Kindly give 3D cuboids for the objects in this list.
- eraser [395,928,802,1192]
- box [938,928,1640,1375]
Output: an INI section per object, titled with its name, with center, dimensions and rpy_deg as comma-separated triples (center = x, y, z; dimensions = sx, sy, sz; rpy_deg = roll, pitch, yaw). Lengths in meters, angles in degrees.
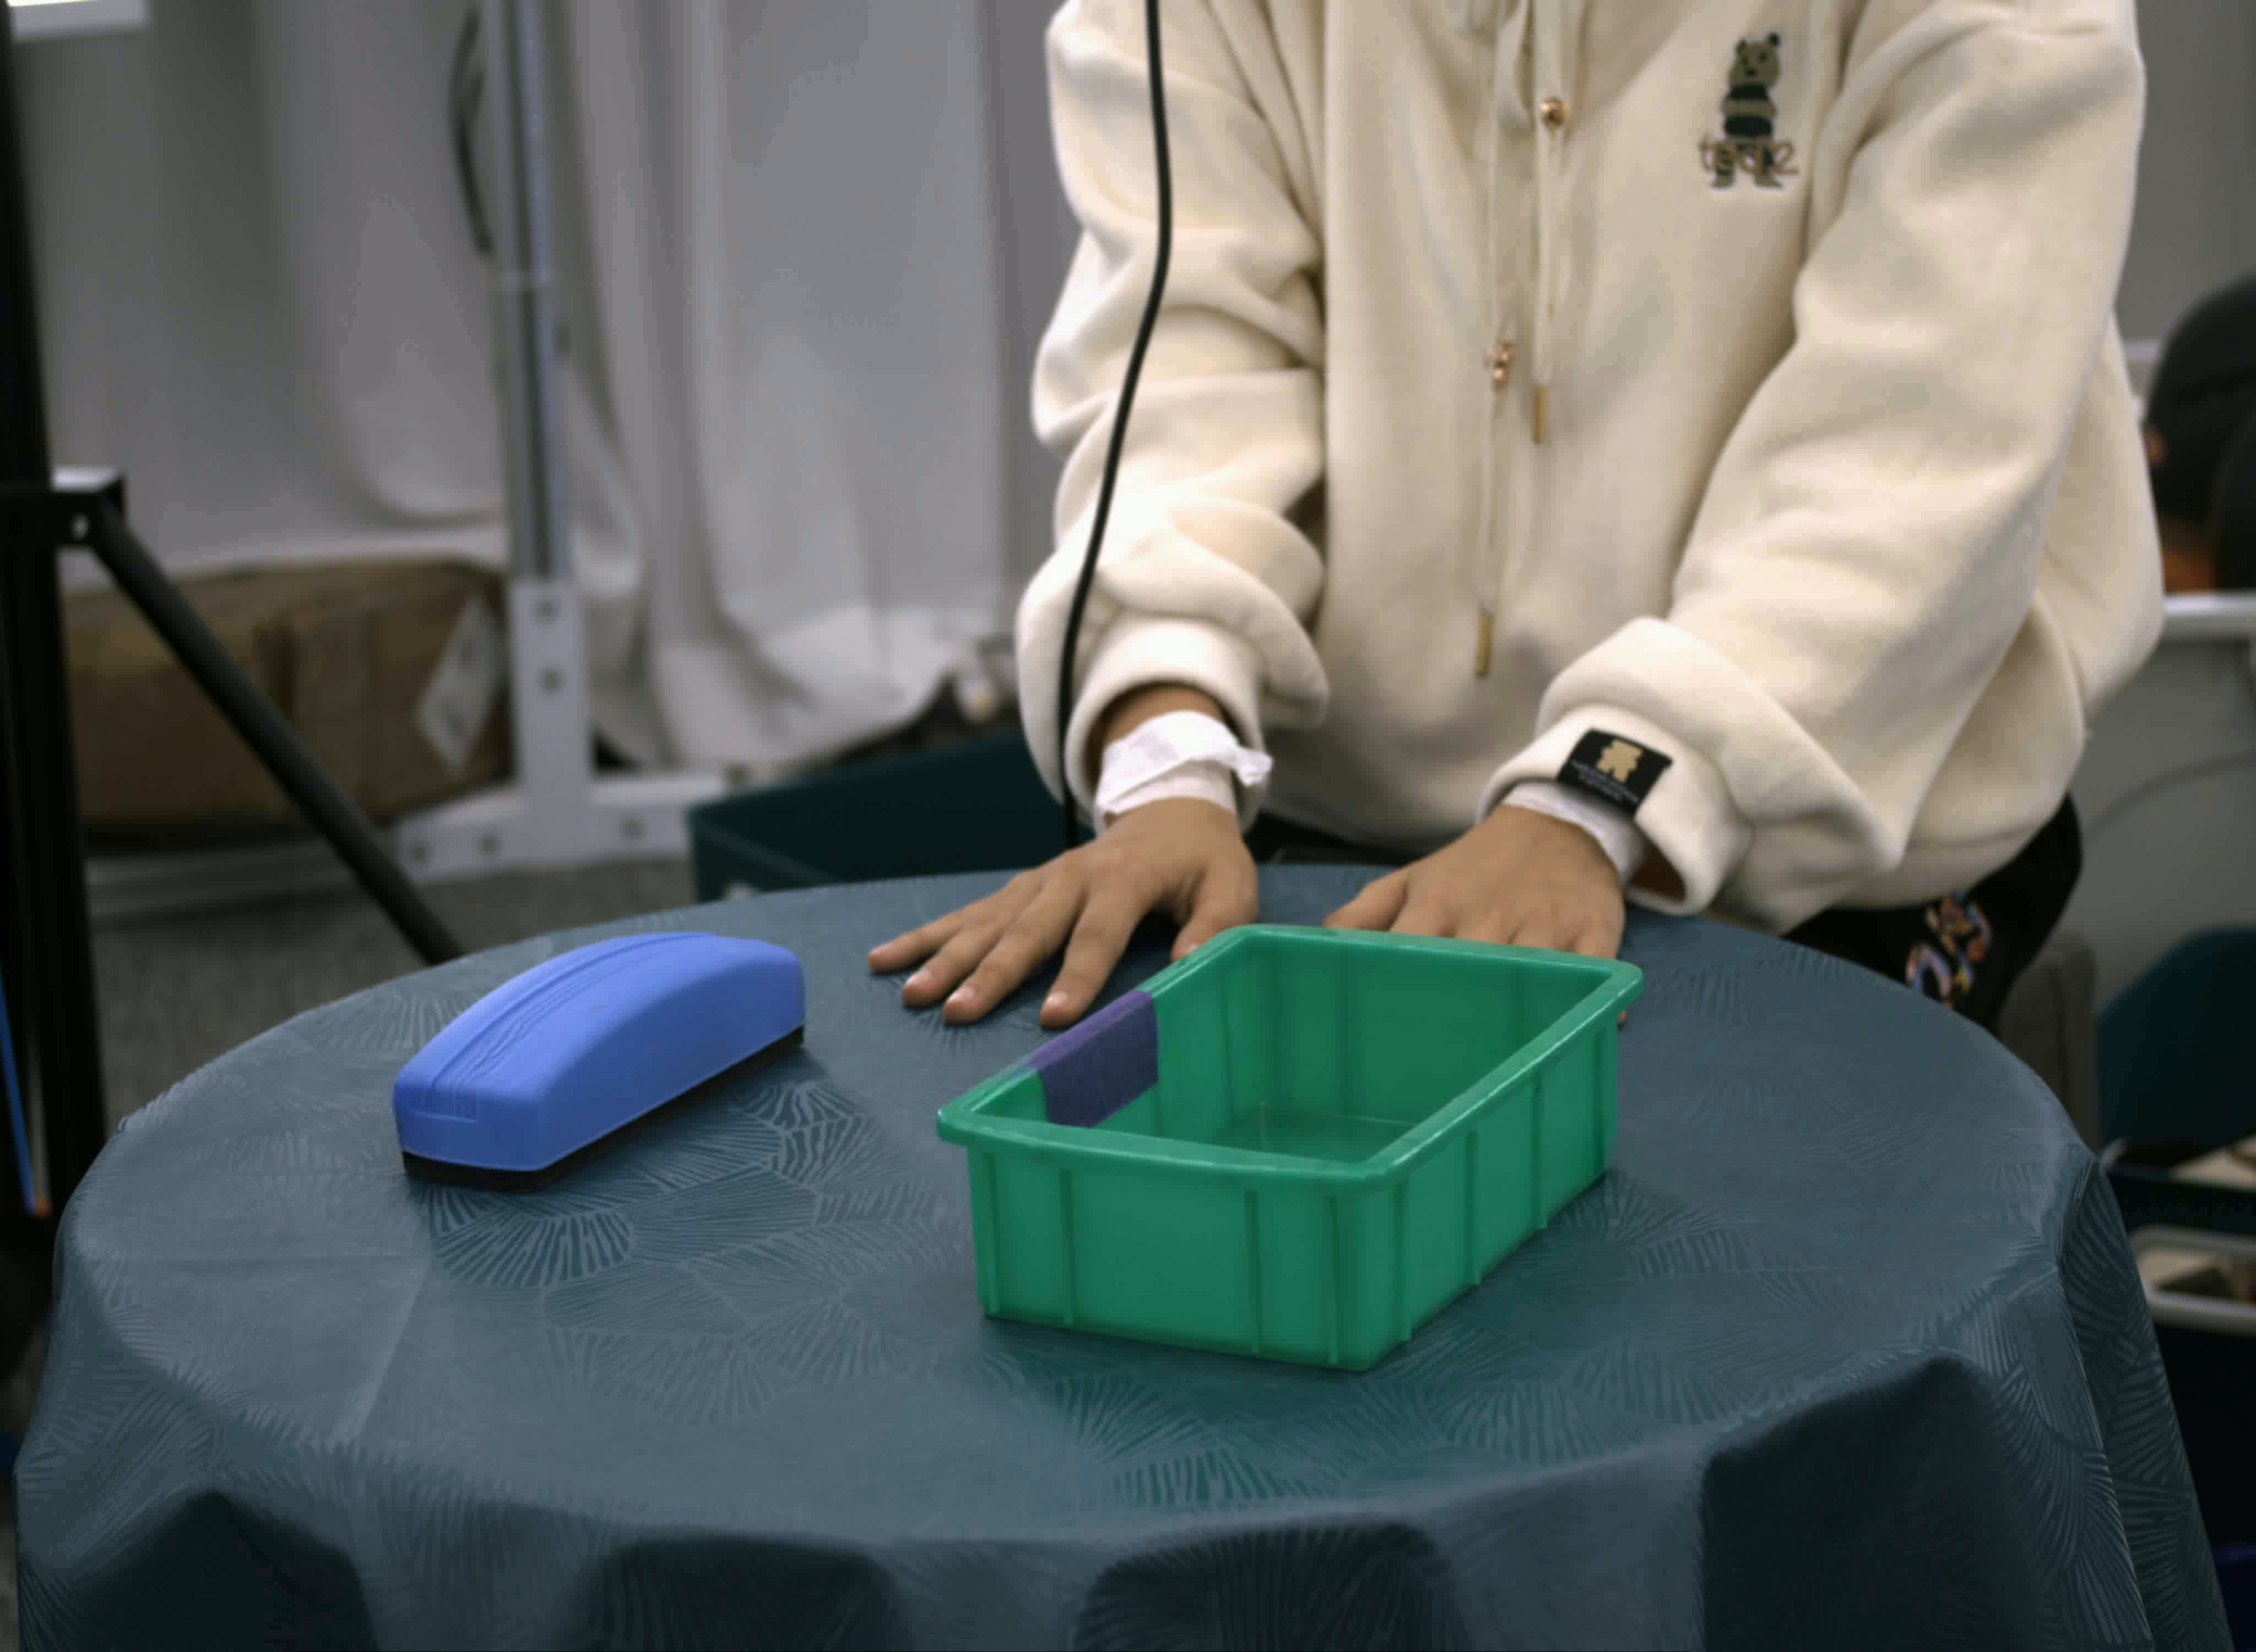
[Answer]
[eraser]
center = -0.162, 0.066, 1.650
dimensions = 0.055, 0.047, 0.159
rpy_deg = 6, 18, 28
[box]
center = 0.050, 0.090, 1.500
dimensions = 0.141, 0.065, 0.207
rpy_deg = 3, 17, 27
